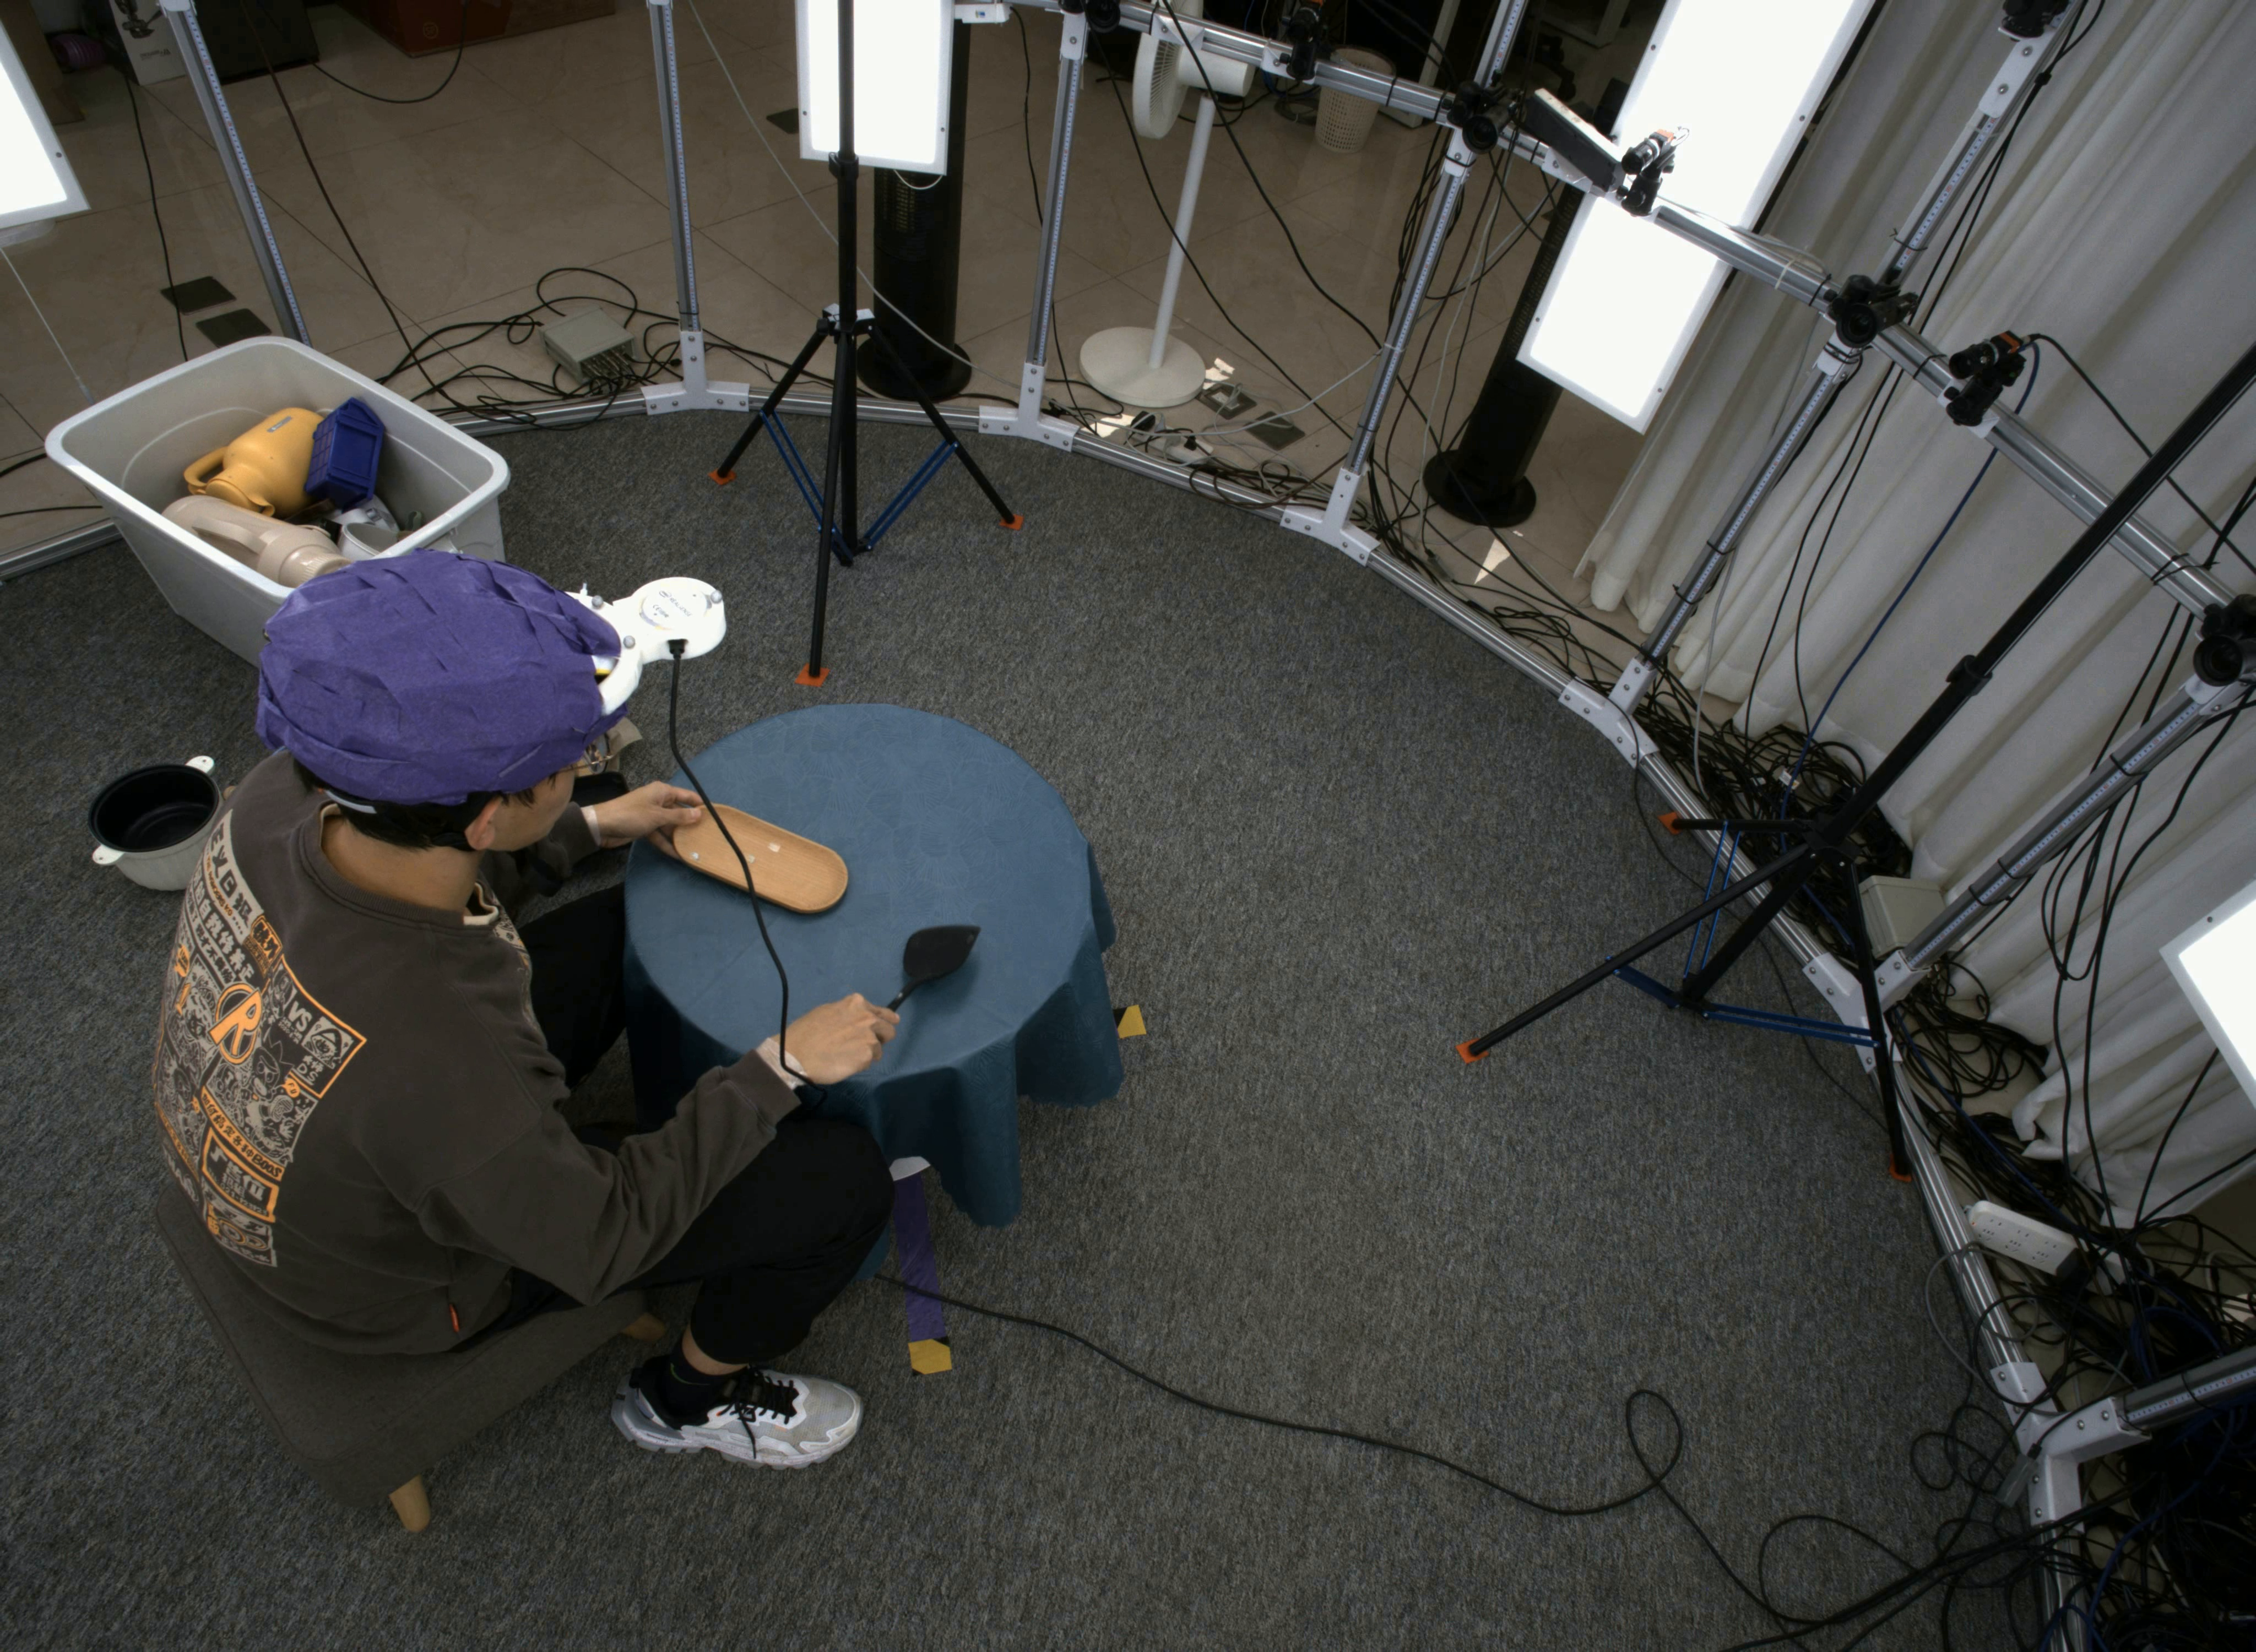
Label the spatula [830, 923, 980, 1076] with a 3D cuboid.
[{"bbox_3d":[-0.270,0.195,1.522,0.097,0.041,0.325,-6,17,19],"label":"spatula"}]

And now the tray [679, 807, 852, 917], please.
[{"bbox_3d":[-0.468,0.045,1.671,0.231,0.020,0.101,24,55,-5],"label":"tray"}]
